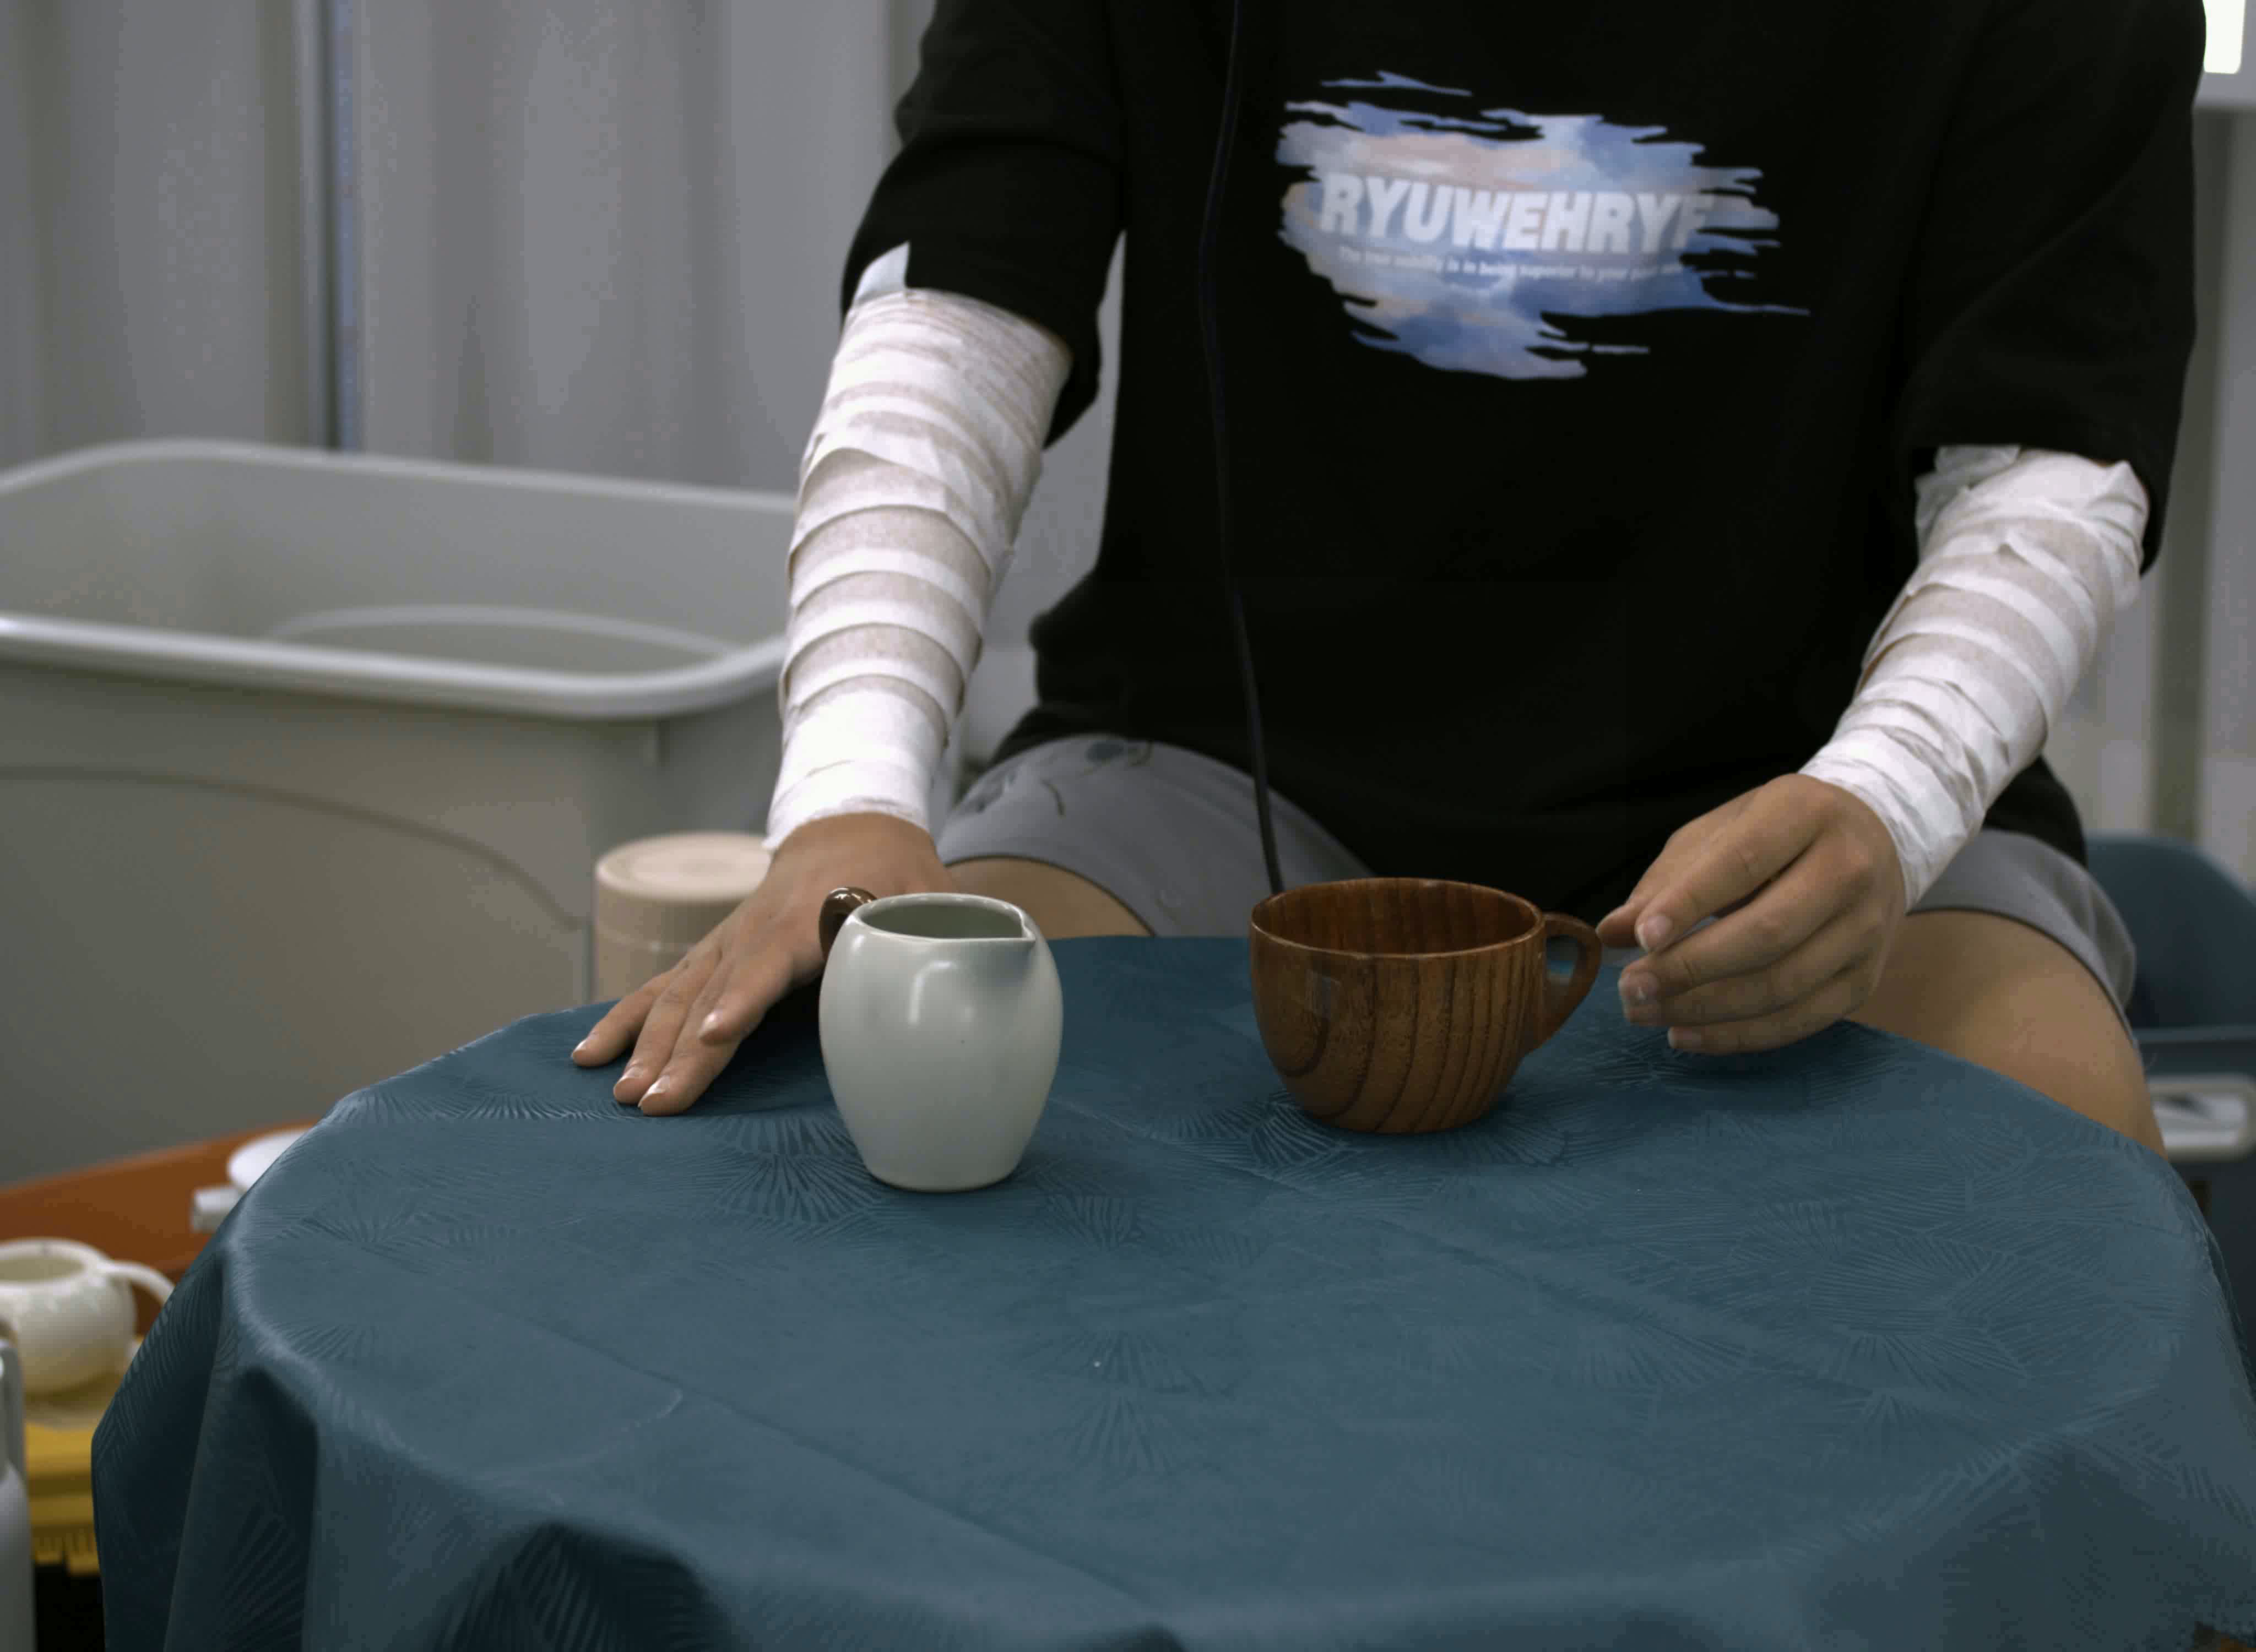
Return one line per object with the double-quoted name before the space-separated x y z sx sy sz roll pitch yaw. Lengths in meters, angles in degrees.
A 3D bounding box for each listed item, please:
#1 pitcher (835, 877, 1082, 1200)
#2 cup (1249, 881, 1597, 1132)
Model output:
"pitcher" -0.057 0.064 1.627 0.076 0.088 0.117 -3 19 -31
"cup" 0.097 0.059 1.700 0.120 0.068 0.095 -3 12 -20
